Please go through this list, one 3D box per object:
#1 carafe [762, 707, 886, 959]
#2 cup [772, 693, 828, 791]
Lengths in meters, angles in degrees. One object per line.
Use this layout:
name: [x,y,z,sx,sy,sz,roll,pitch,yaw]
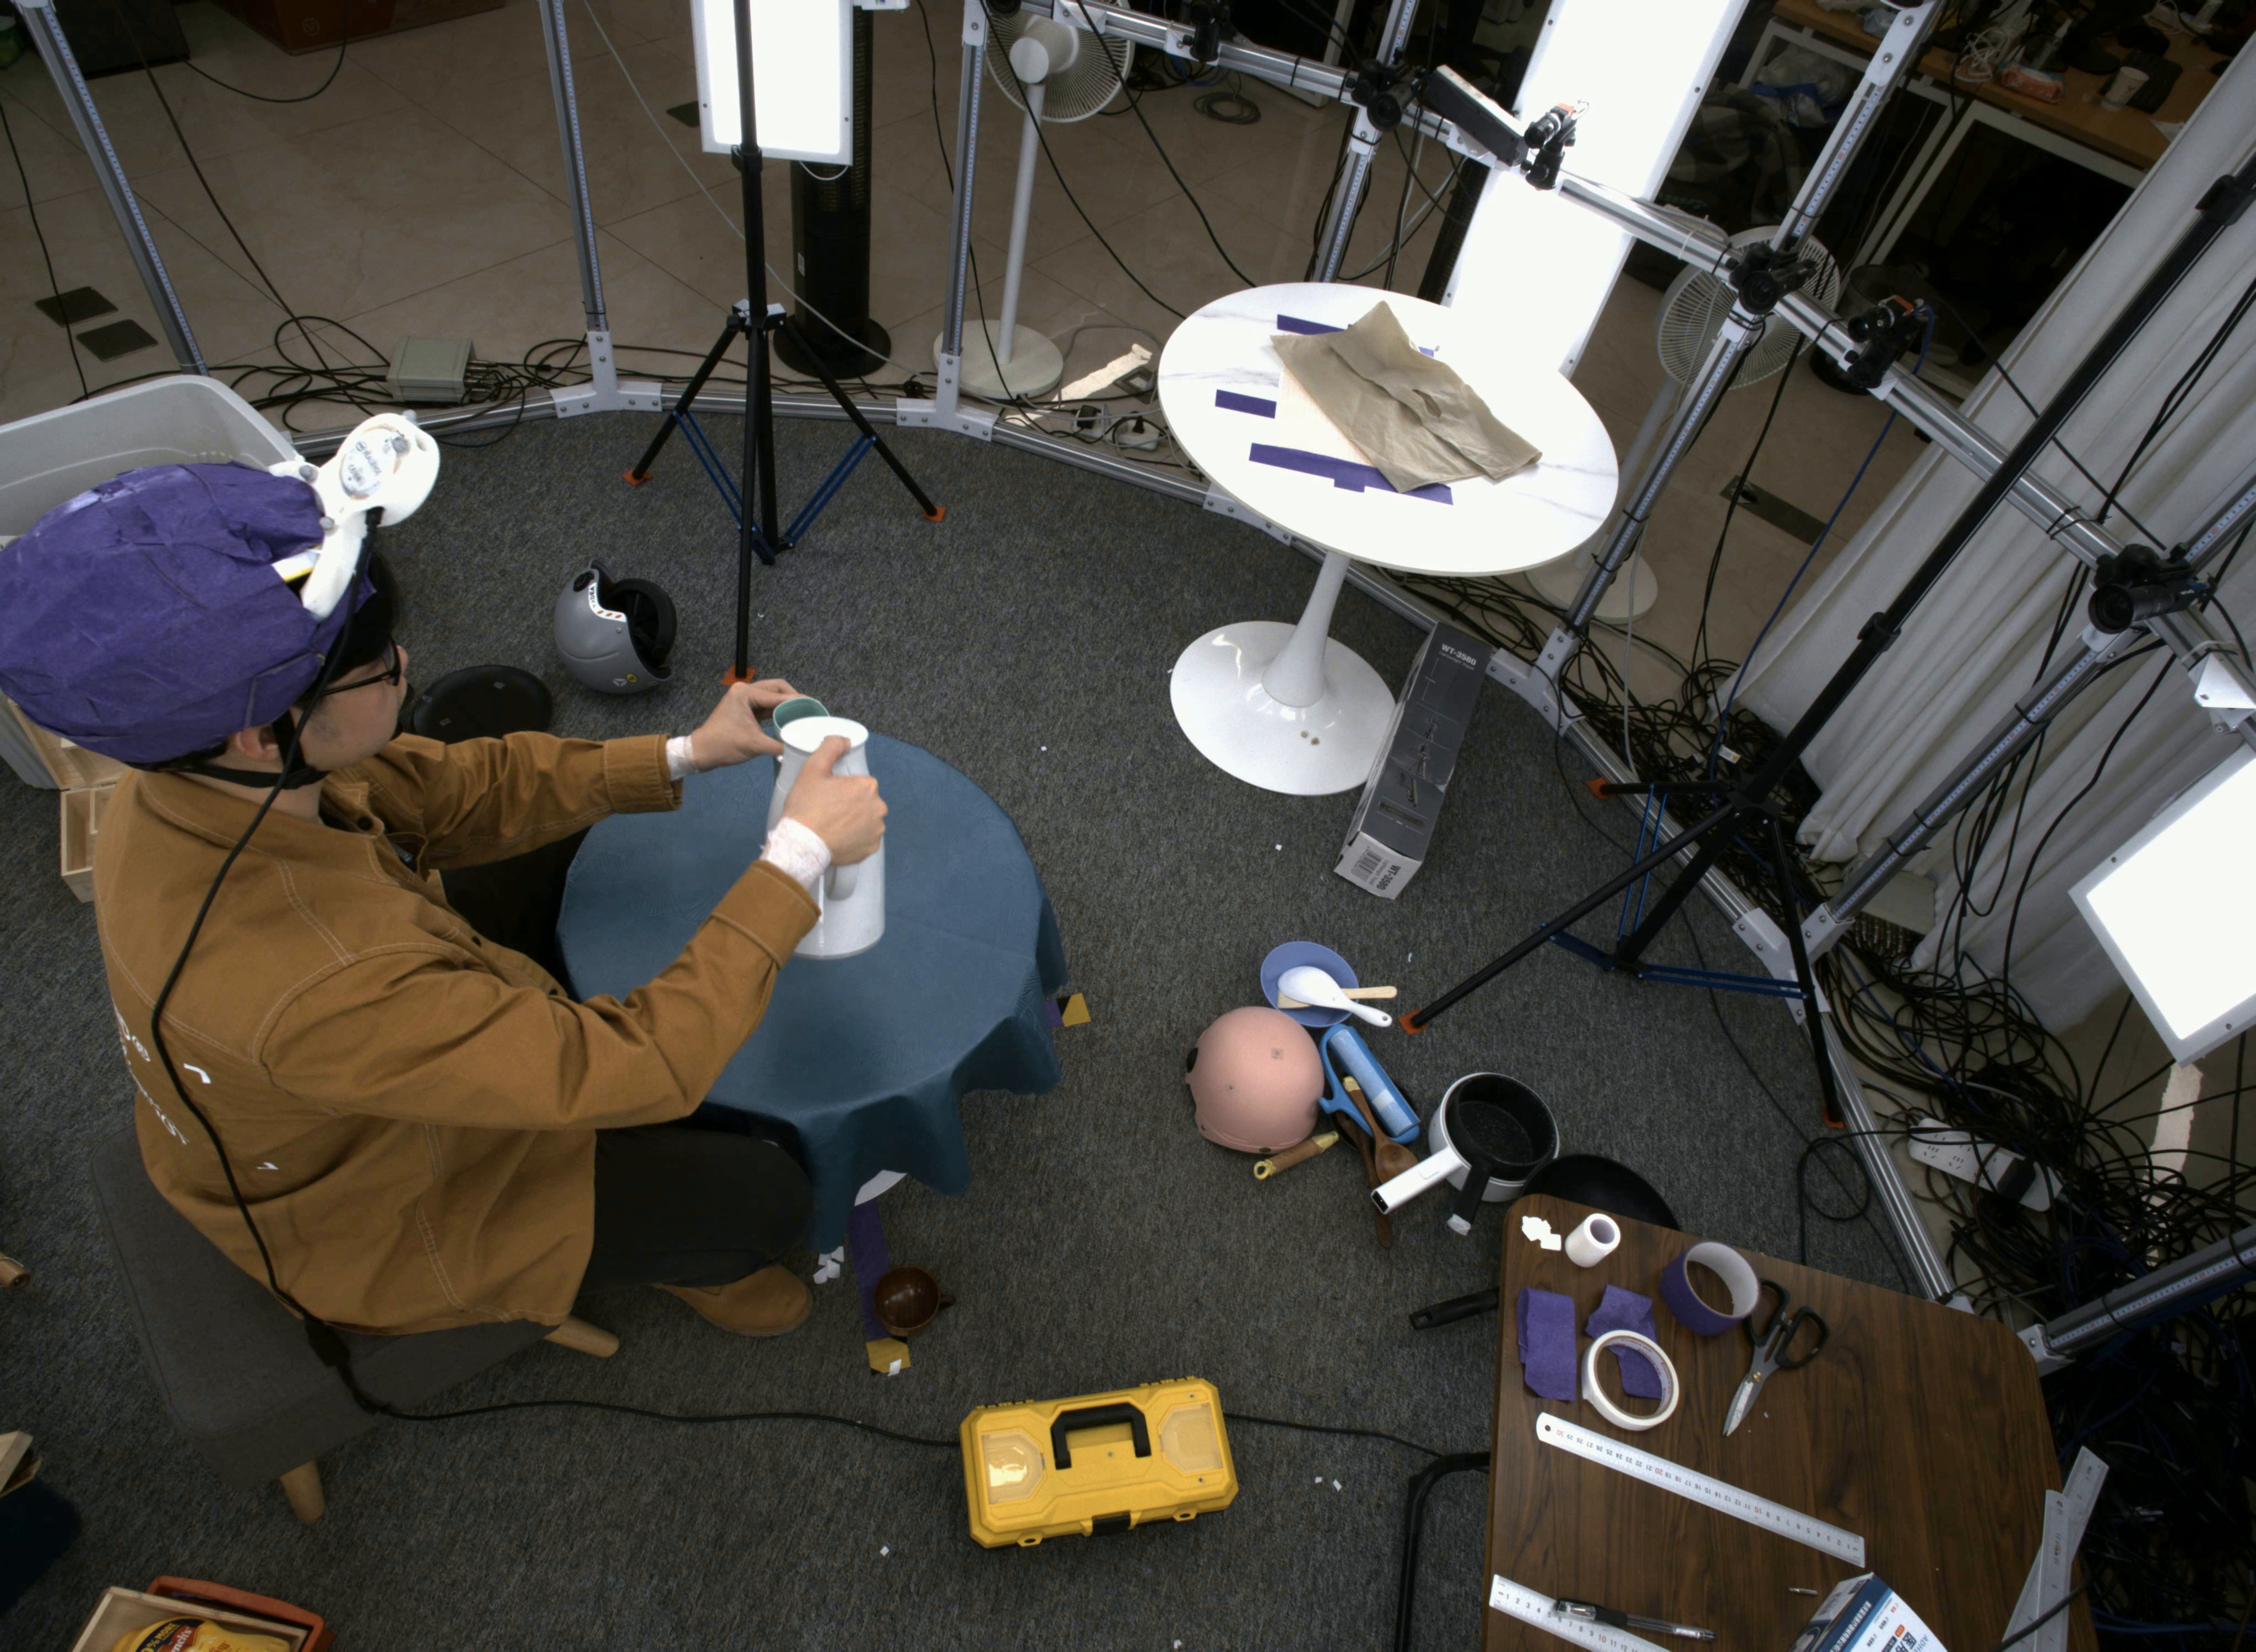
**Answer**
carafe: [-0.320,0.009,1.383,0.134,0.256,0.161,-8,30,-26]
cup: [-0.393,-0.089,1.545,0.067,0.135,0.065,8,50,-9]
